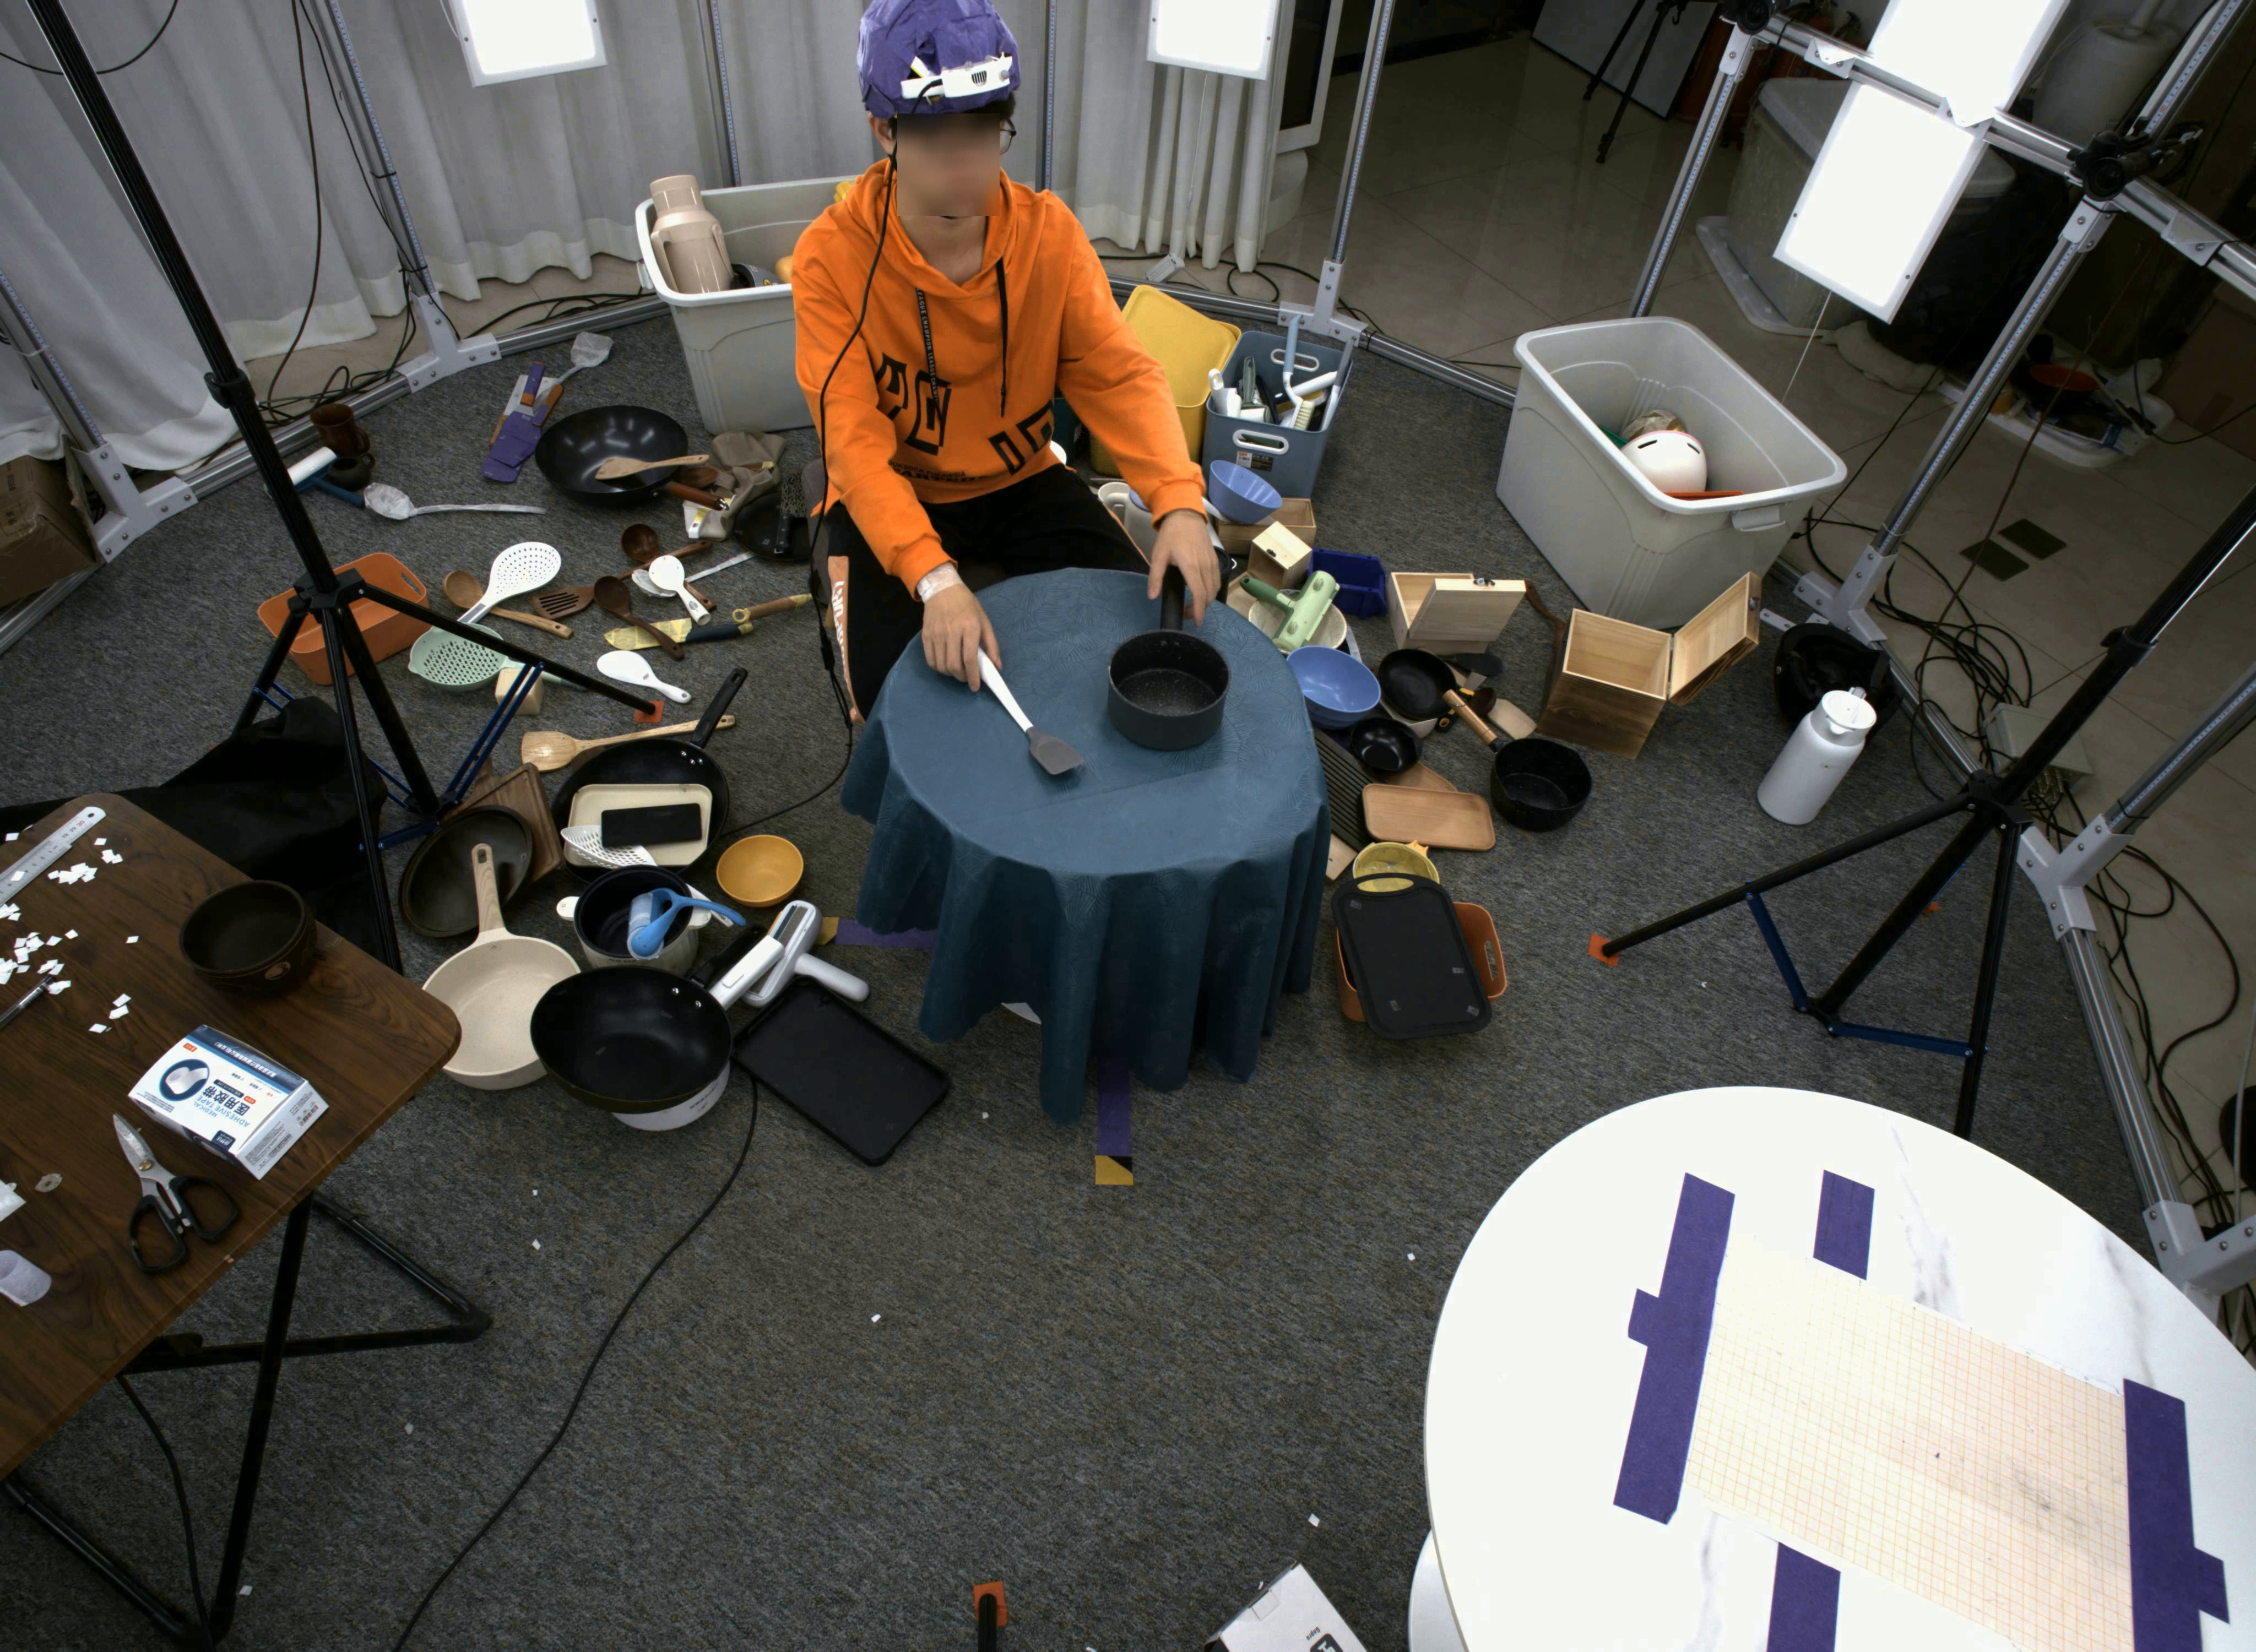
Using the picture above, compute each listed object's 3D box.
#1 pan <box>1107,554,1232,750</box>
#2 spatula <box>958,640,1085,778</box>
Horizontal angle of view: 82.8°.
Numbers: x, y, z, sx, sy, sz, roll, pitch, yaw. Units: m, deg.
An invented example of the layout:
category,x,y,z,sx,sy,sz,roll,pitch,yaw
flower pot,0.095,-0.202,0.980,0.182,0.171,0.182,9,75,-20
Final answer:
category,x,y,z,sx,sy,sz,roll,pitch,yaw
pan,0.063,-0.252,1.837,0.172,0.084,0.336,7,51,1
spatula,-0.154,-0.162,1.779,0.059,0.031,0.293,-22,53,-25
